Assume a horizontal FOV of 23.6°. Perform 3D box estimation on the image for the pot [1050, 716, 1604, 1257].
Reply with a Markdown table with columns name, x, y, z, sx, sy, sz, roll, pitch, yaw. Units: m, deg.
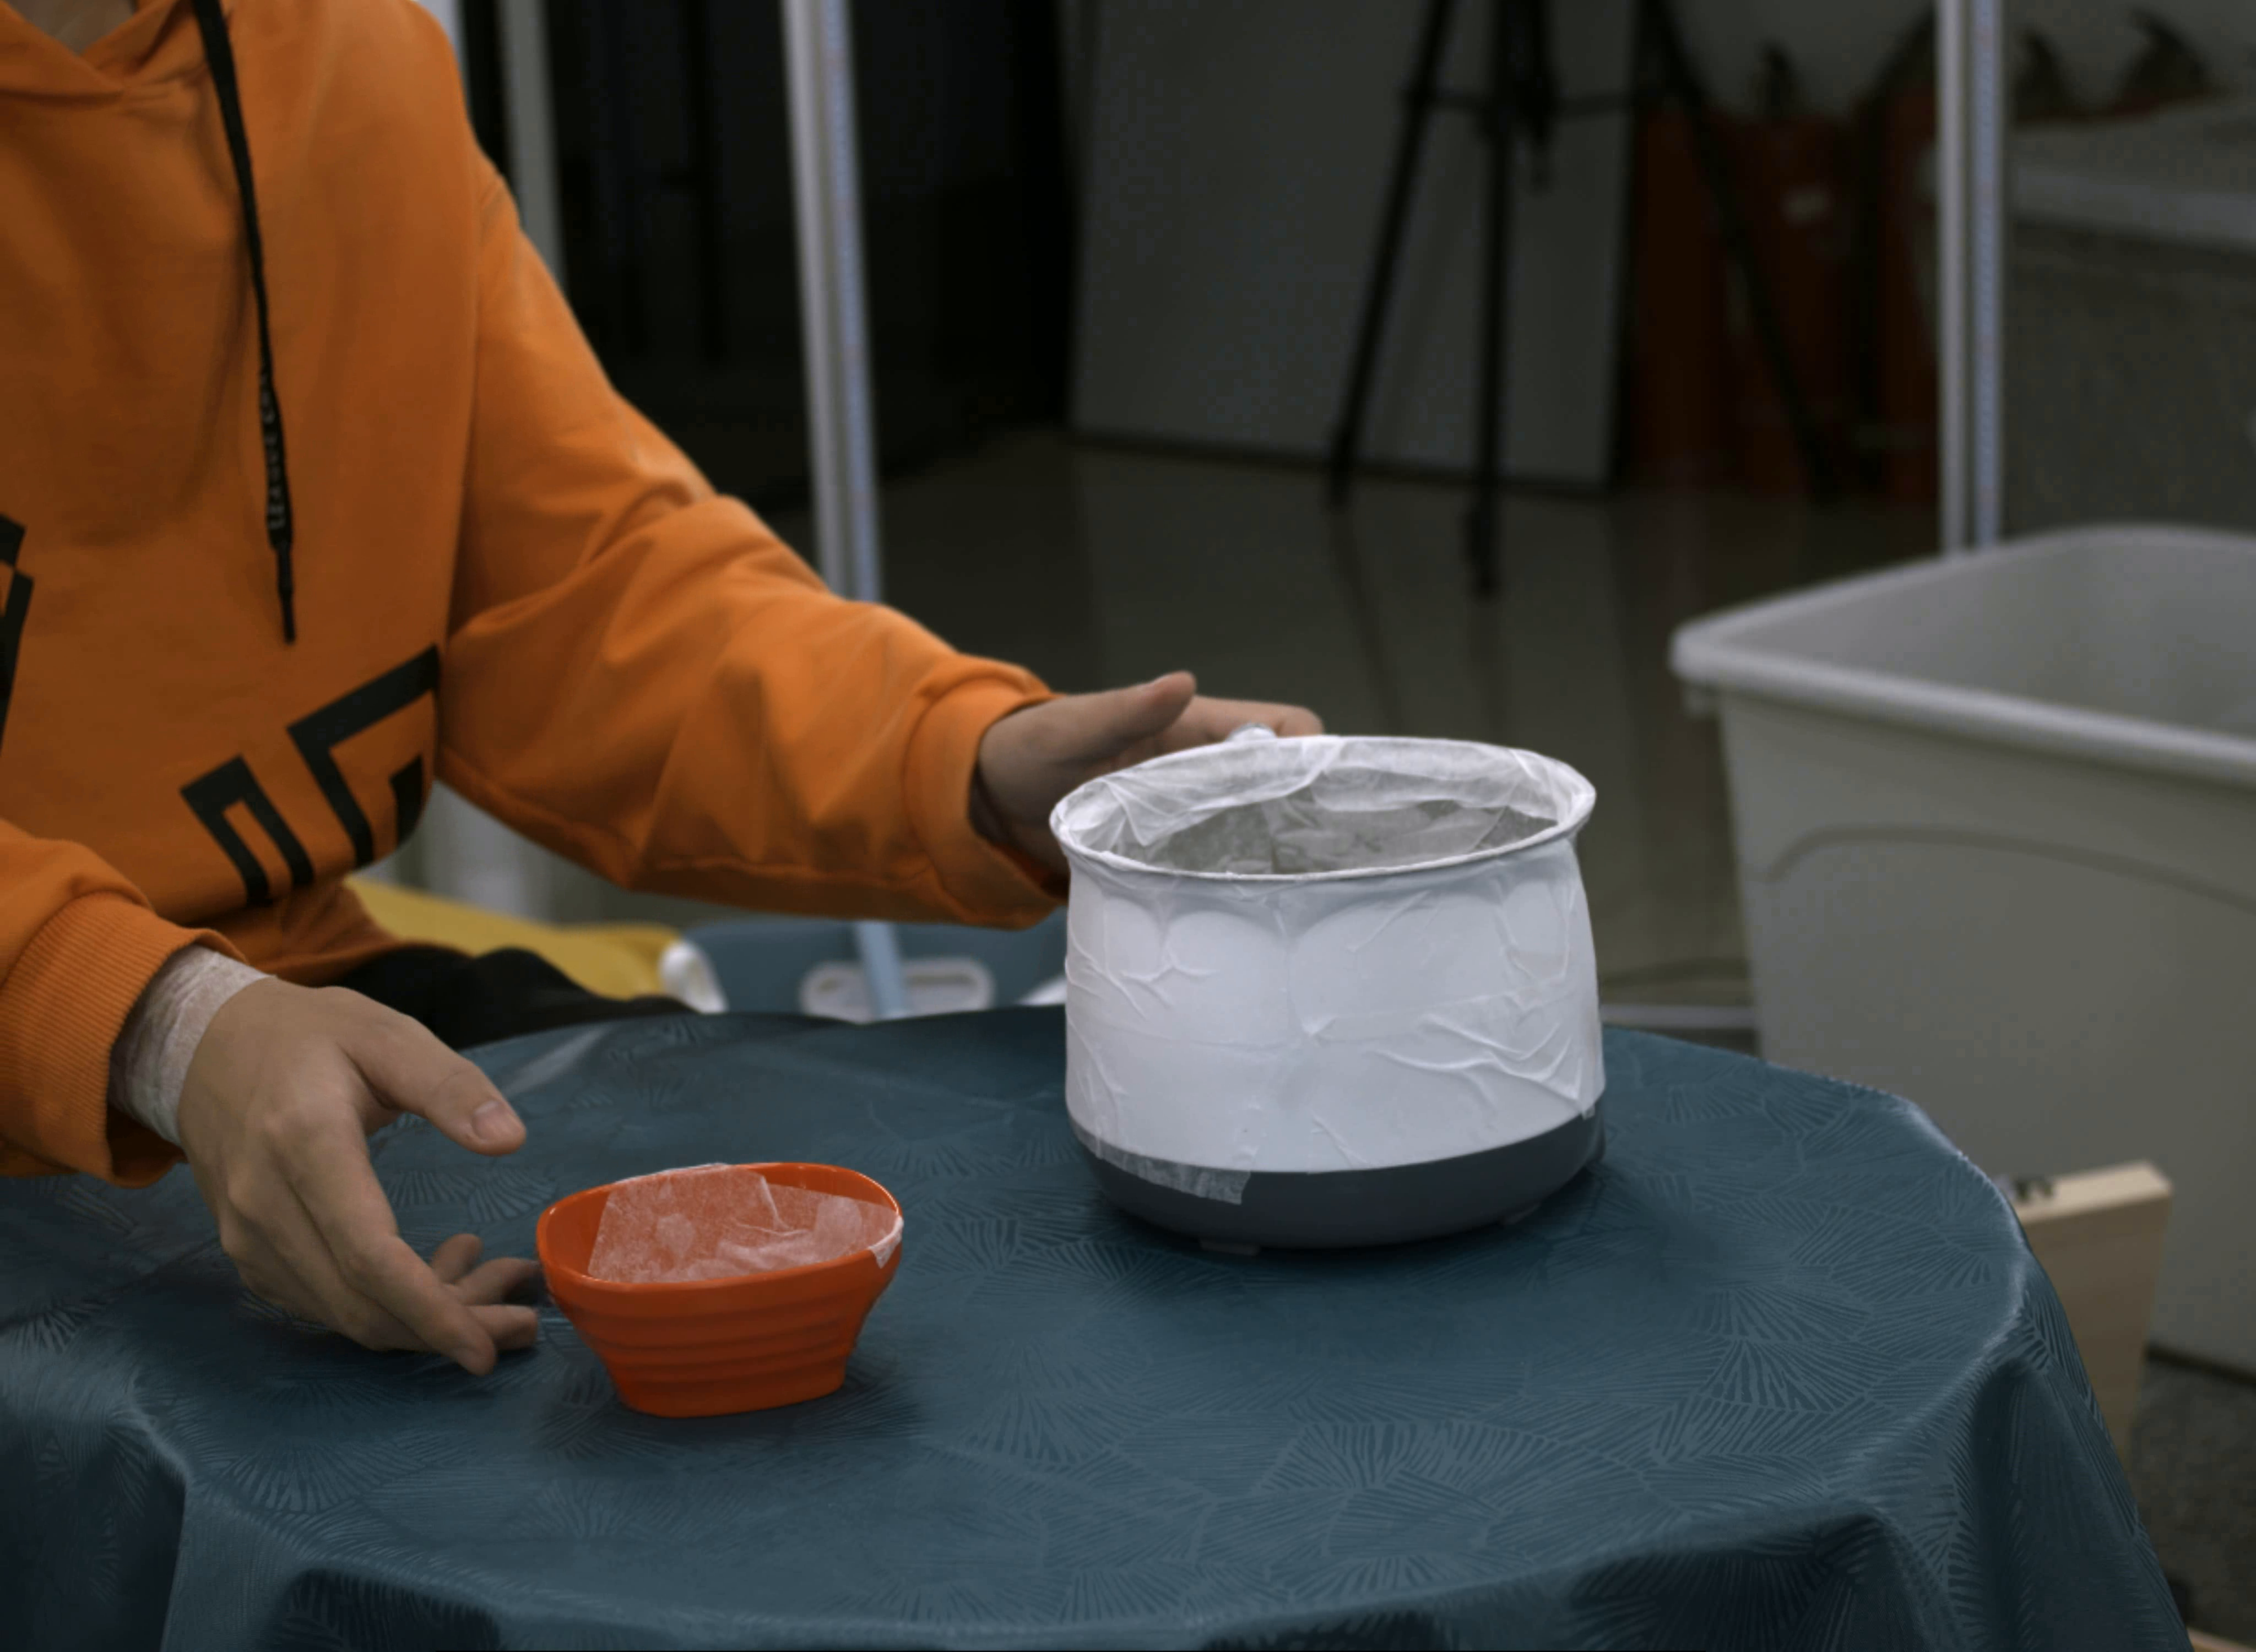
| name | x | y | z | sx | sy | sz | roll | pitch | yaw |
| --- | --- | --- | --- | --- | --- | --- | --- | --- | --- |
| pot | 0.059 | 0.046 | 1.766 | 0.175 | 0.138 | 0.235 | -6 | 14 | -11 |

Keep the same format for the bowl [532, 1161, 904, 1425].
| name | x | y | z | sx | sy | sz | roll | pitch | yaw |
| --- | --- | --- | --- | --- | --- | --- | --- | --- | --- |
| bowl | -0.121 | 0.142 | 1.617 | 0.117 | 0.052 | 0.119 | -5 | 14 | 0 |
